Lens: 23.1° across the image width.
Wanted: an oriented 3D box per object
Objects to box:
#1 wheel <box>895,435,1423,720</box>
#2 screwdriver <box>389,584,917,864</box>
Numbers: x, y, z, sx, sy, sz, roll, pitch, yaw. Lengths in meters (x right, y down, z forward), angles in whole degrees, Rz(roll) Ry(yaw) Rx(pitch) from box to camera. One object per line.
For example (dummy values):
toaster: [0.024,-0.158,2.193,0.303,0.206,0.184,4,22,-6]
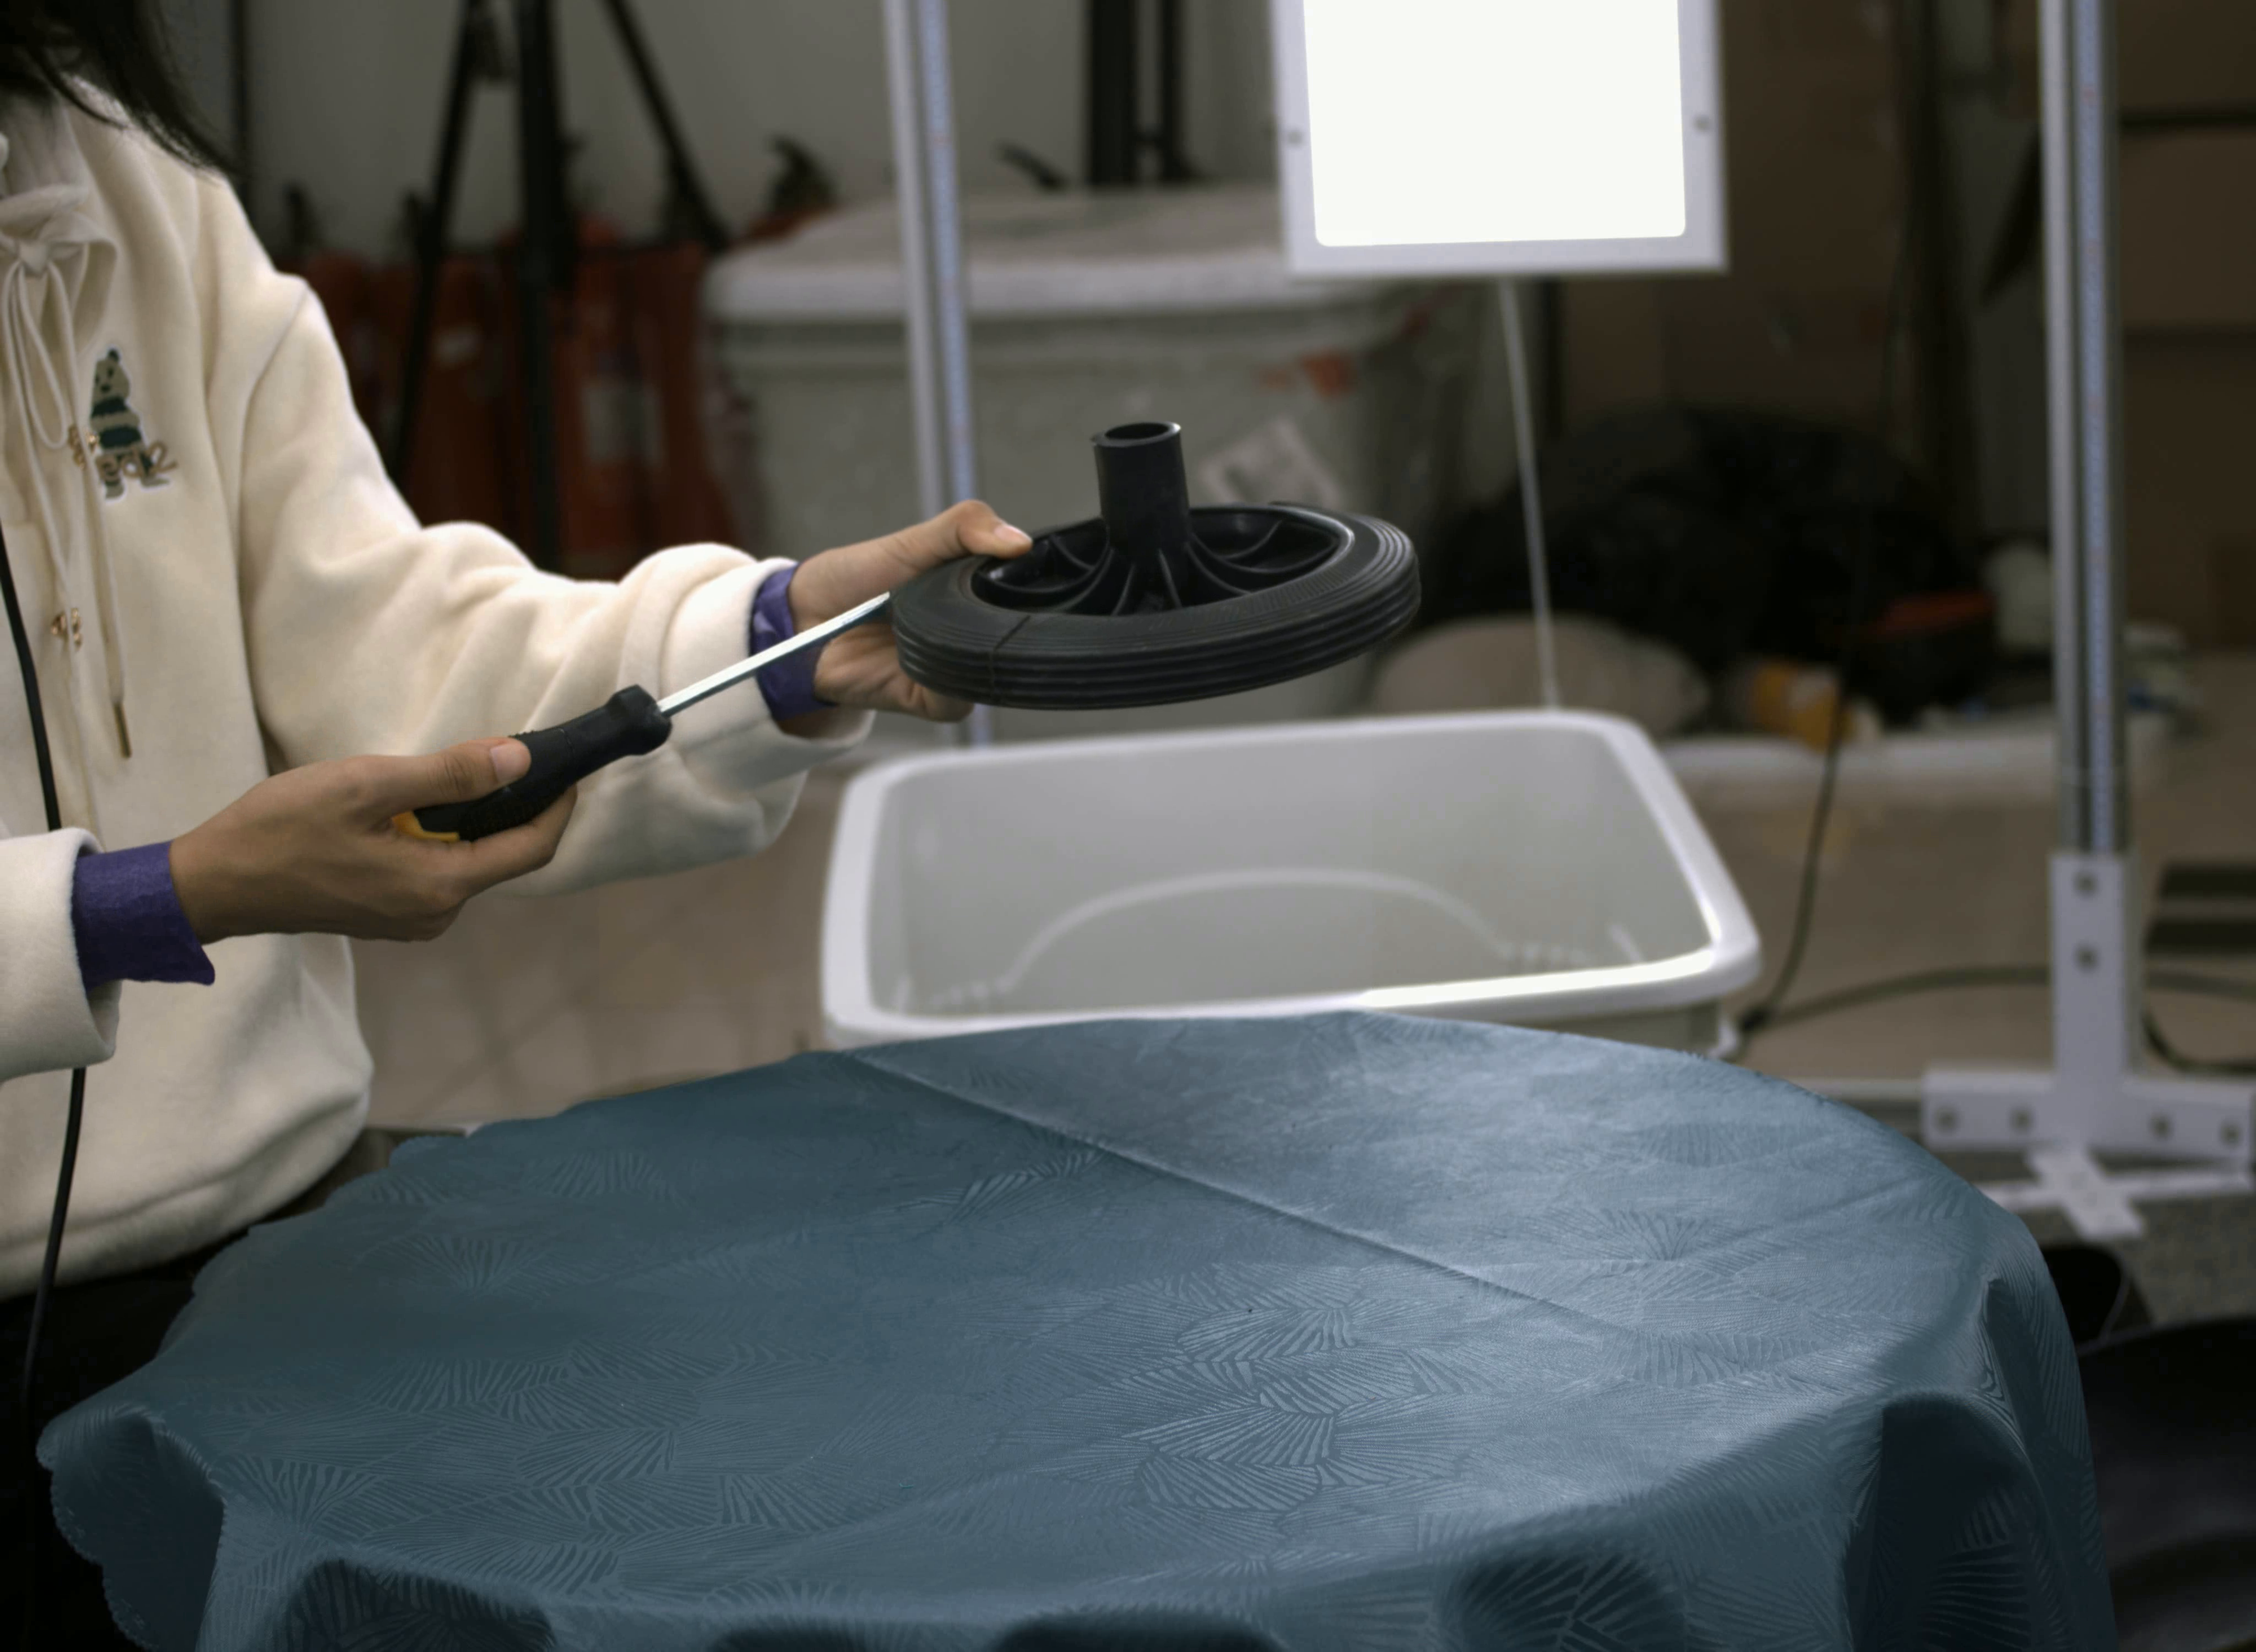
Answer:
wheel: [0.009,-0.096,1.944,0.185,0.079,0.191,-12,19,-13]
screwdriver: [-0.159,-0.036,1.870,0.195,0.031,0.032,-25,18,-11]
